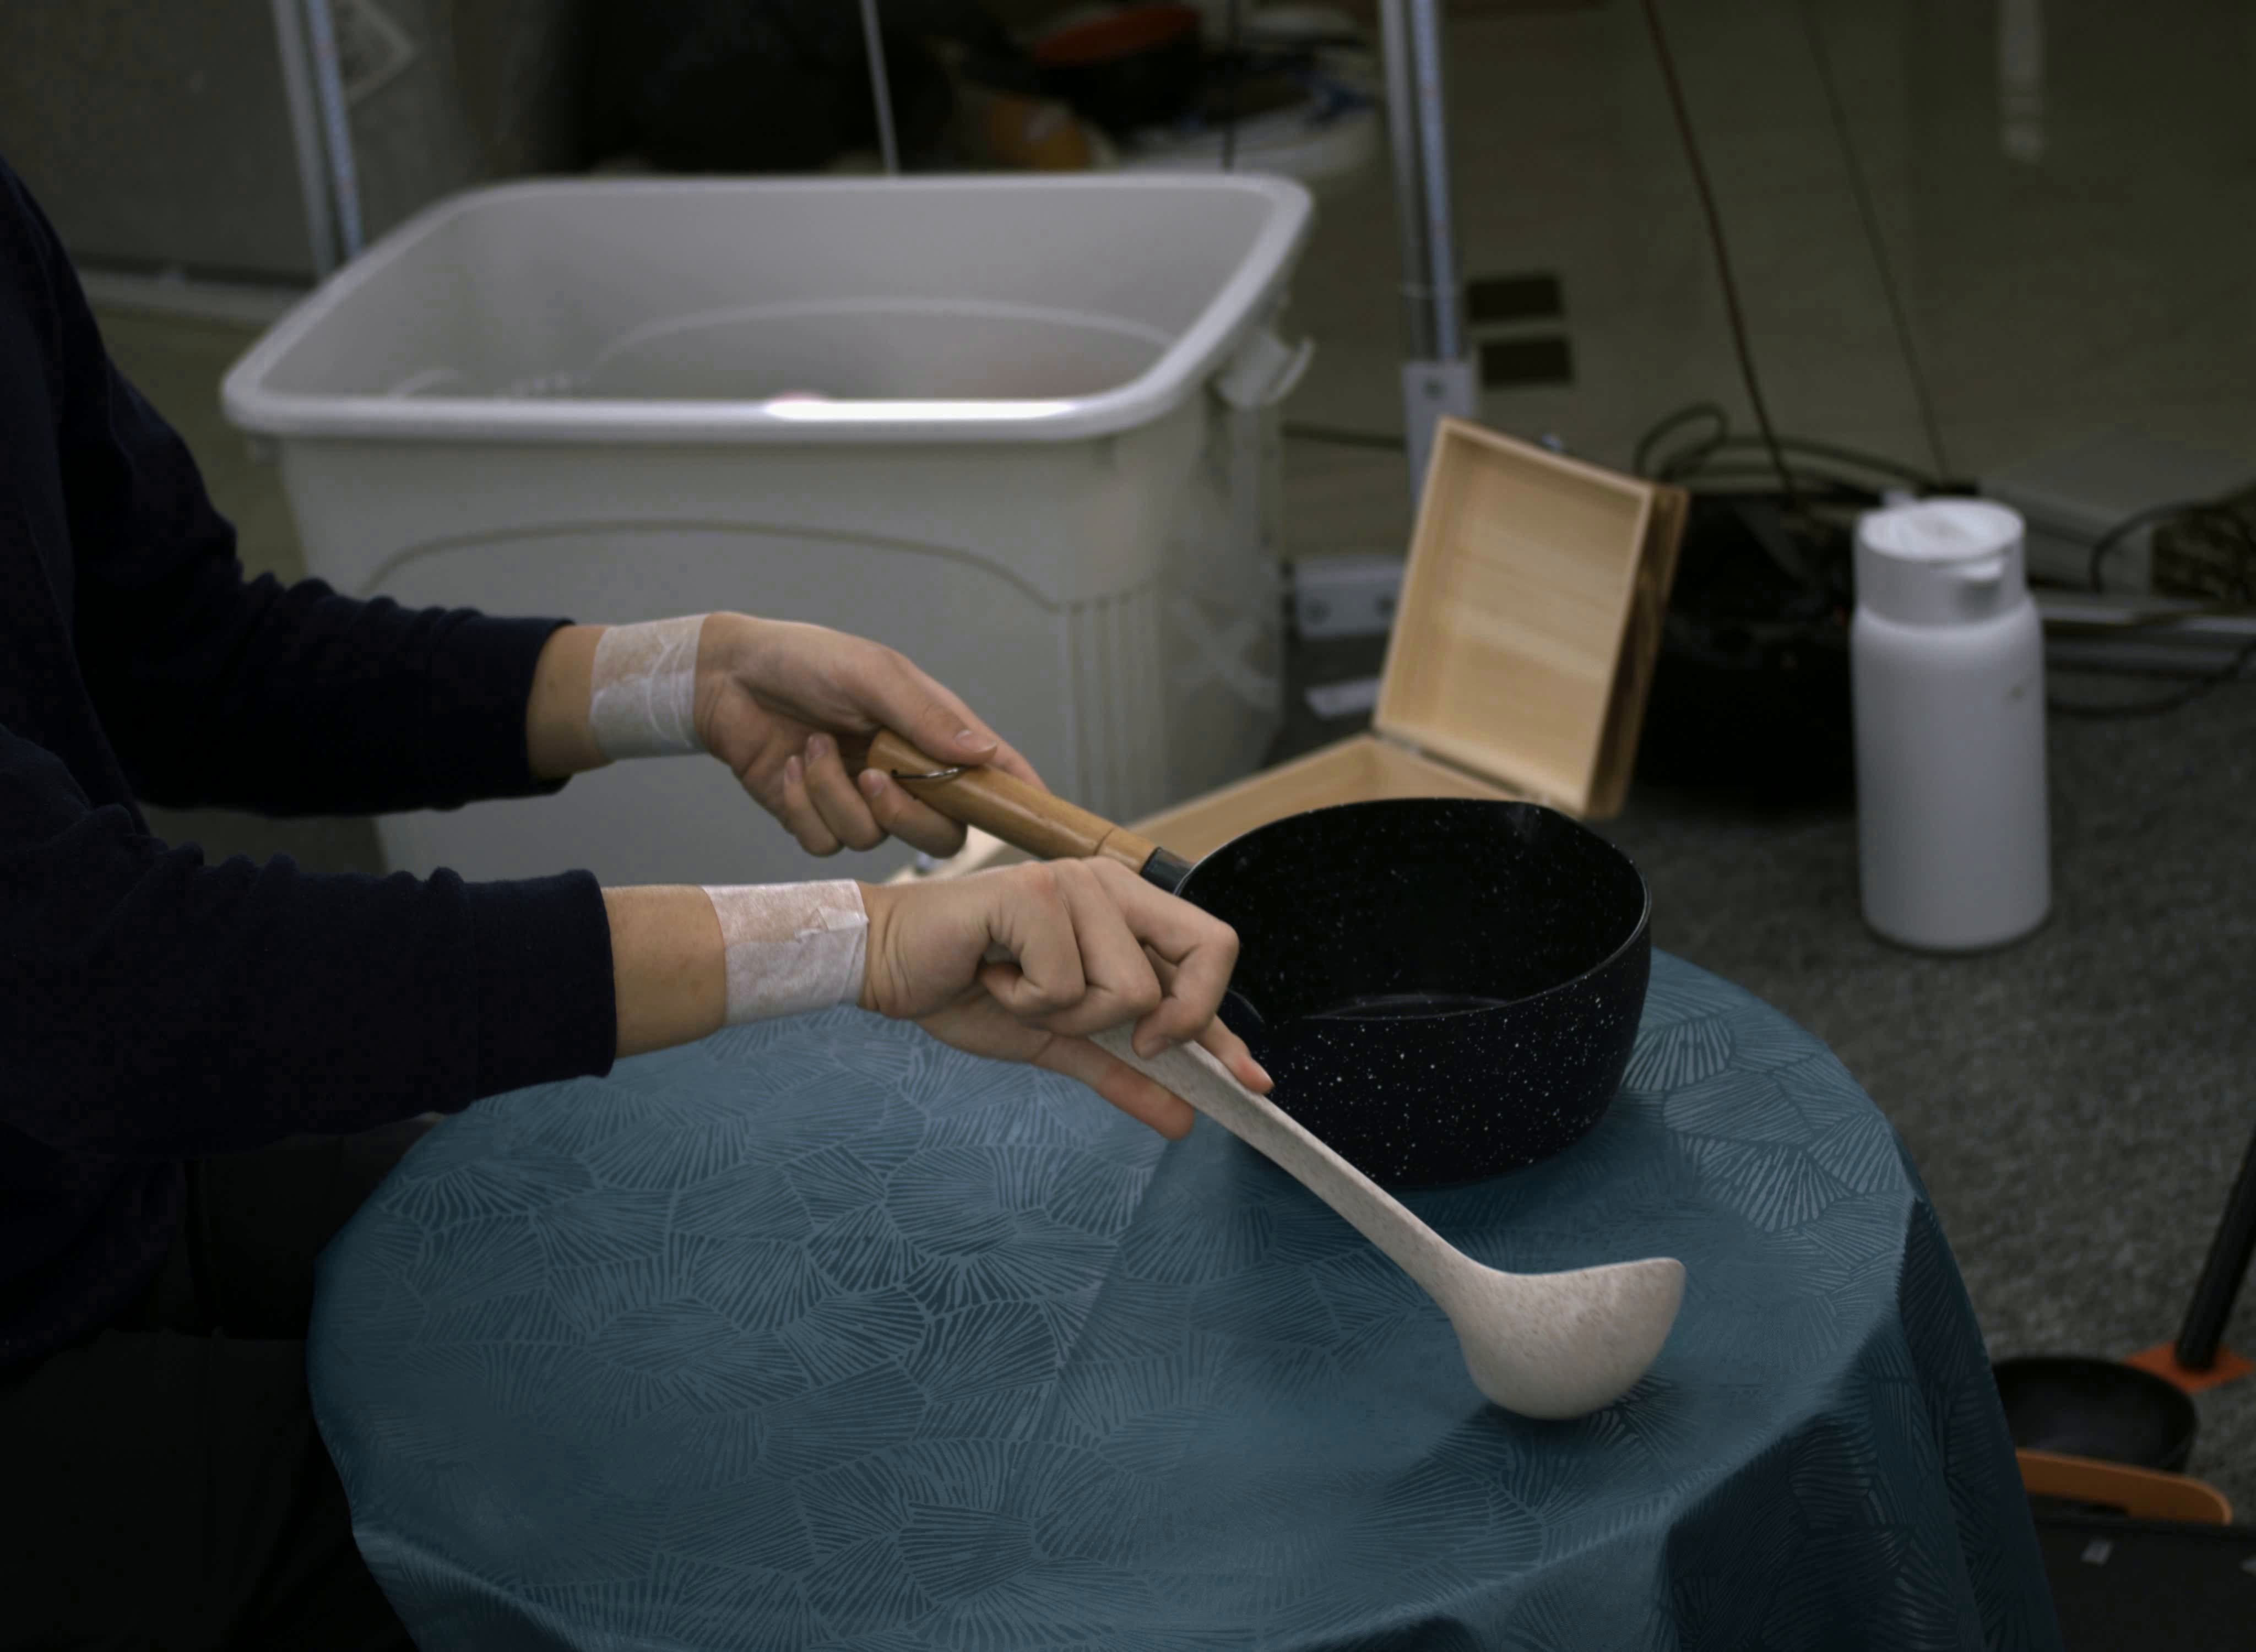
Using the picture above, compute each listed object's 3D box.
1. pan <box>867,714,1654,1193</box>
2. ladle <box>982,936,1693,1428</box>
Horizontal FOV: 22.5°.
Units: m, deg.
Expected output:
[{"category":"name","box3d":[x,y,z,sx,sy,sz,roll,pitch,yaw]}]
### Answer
[{"category":"pan","box3d":[0.042,0.041,2.202,0.341,0.110,0.205,14,33,29]},{"category":"ladle","box3d":[0.072,0.106,1.939,0.275,0.090,0.068,39,49,-5]}]
